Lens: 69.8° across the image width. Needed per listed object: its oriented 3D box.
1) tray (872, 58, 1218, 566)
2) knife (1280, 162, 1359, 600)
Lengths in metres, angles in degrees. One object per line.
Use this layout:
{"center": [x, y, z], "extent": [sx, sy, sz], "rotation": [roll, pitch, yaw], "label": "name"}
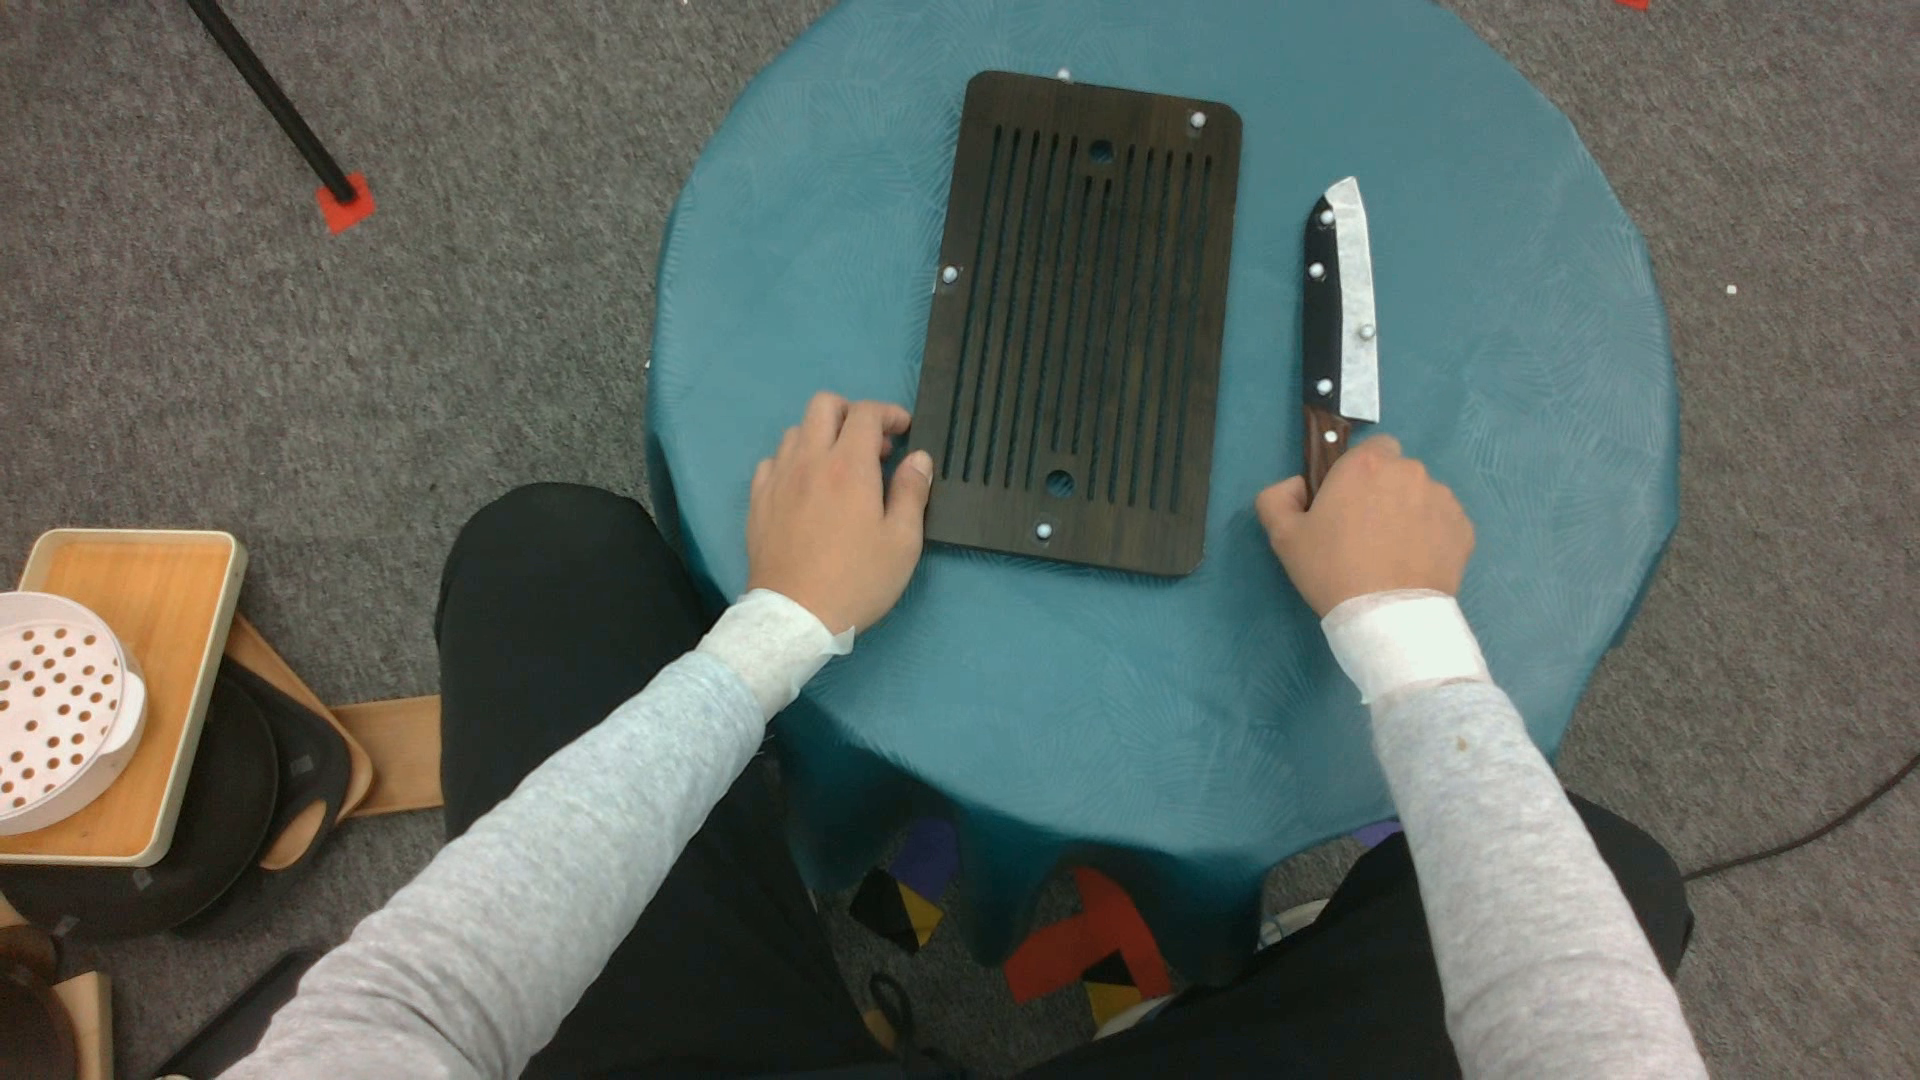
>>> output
{"center": [0.054, -0.139, 0.799], "extent": [0.170, 0.018, 0.307], "rotation": [9, 72, -1], "label": "tray"}
{"center": [0.206, -0.100, 0.792], "extent": [0.050, 0.020, 0.290], "rotation": [10, 67, -10], "label": "knife"}
